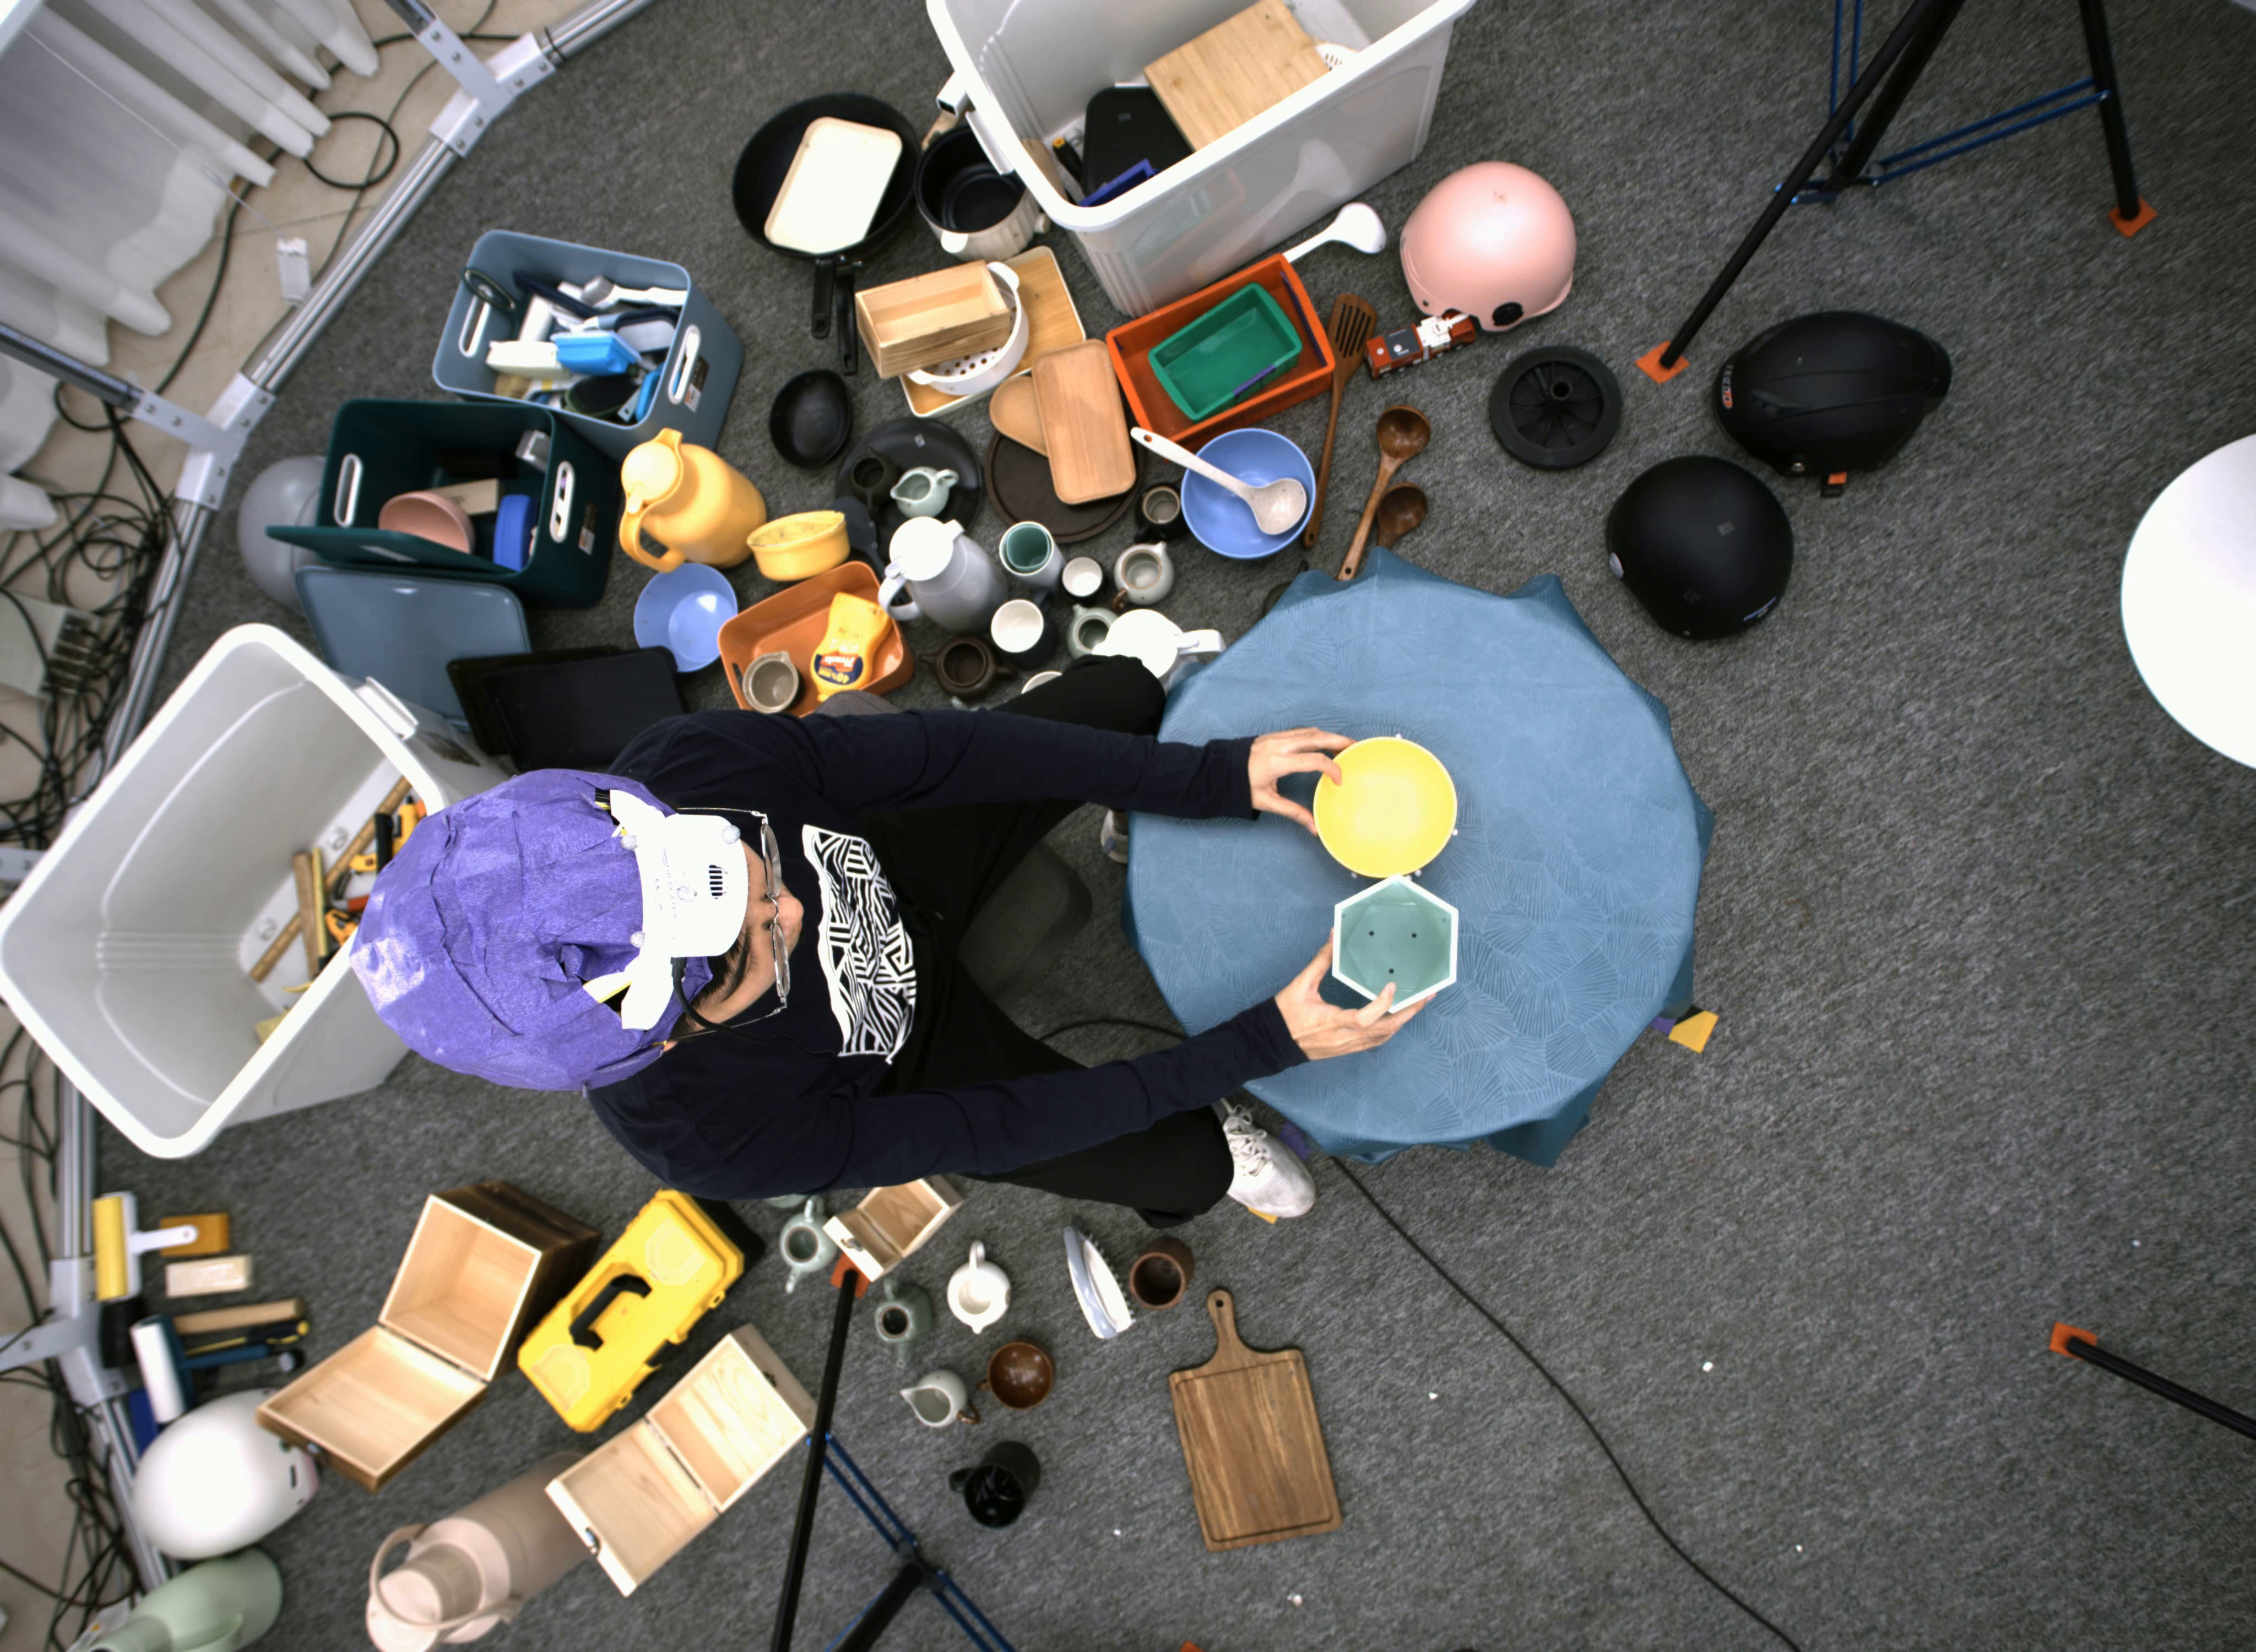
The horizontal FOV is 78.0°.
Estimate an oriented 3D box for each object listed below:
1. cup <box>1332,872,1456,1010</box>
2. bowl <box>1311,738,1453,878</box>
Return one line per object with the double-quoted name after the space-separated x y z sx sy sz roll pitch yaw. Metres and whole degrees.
0.265 0.115 1.374 0.115 0.163 0.130 0 85 11 "cup"
0.264 -0.017 1.437 0.146 0.060 0.144 -1 86 12 "bowl"
